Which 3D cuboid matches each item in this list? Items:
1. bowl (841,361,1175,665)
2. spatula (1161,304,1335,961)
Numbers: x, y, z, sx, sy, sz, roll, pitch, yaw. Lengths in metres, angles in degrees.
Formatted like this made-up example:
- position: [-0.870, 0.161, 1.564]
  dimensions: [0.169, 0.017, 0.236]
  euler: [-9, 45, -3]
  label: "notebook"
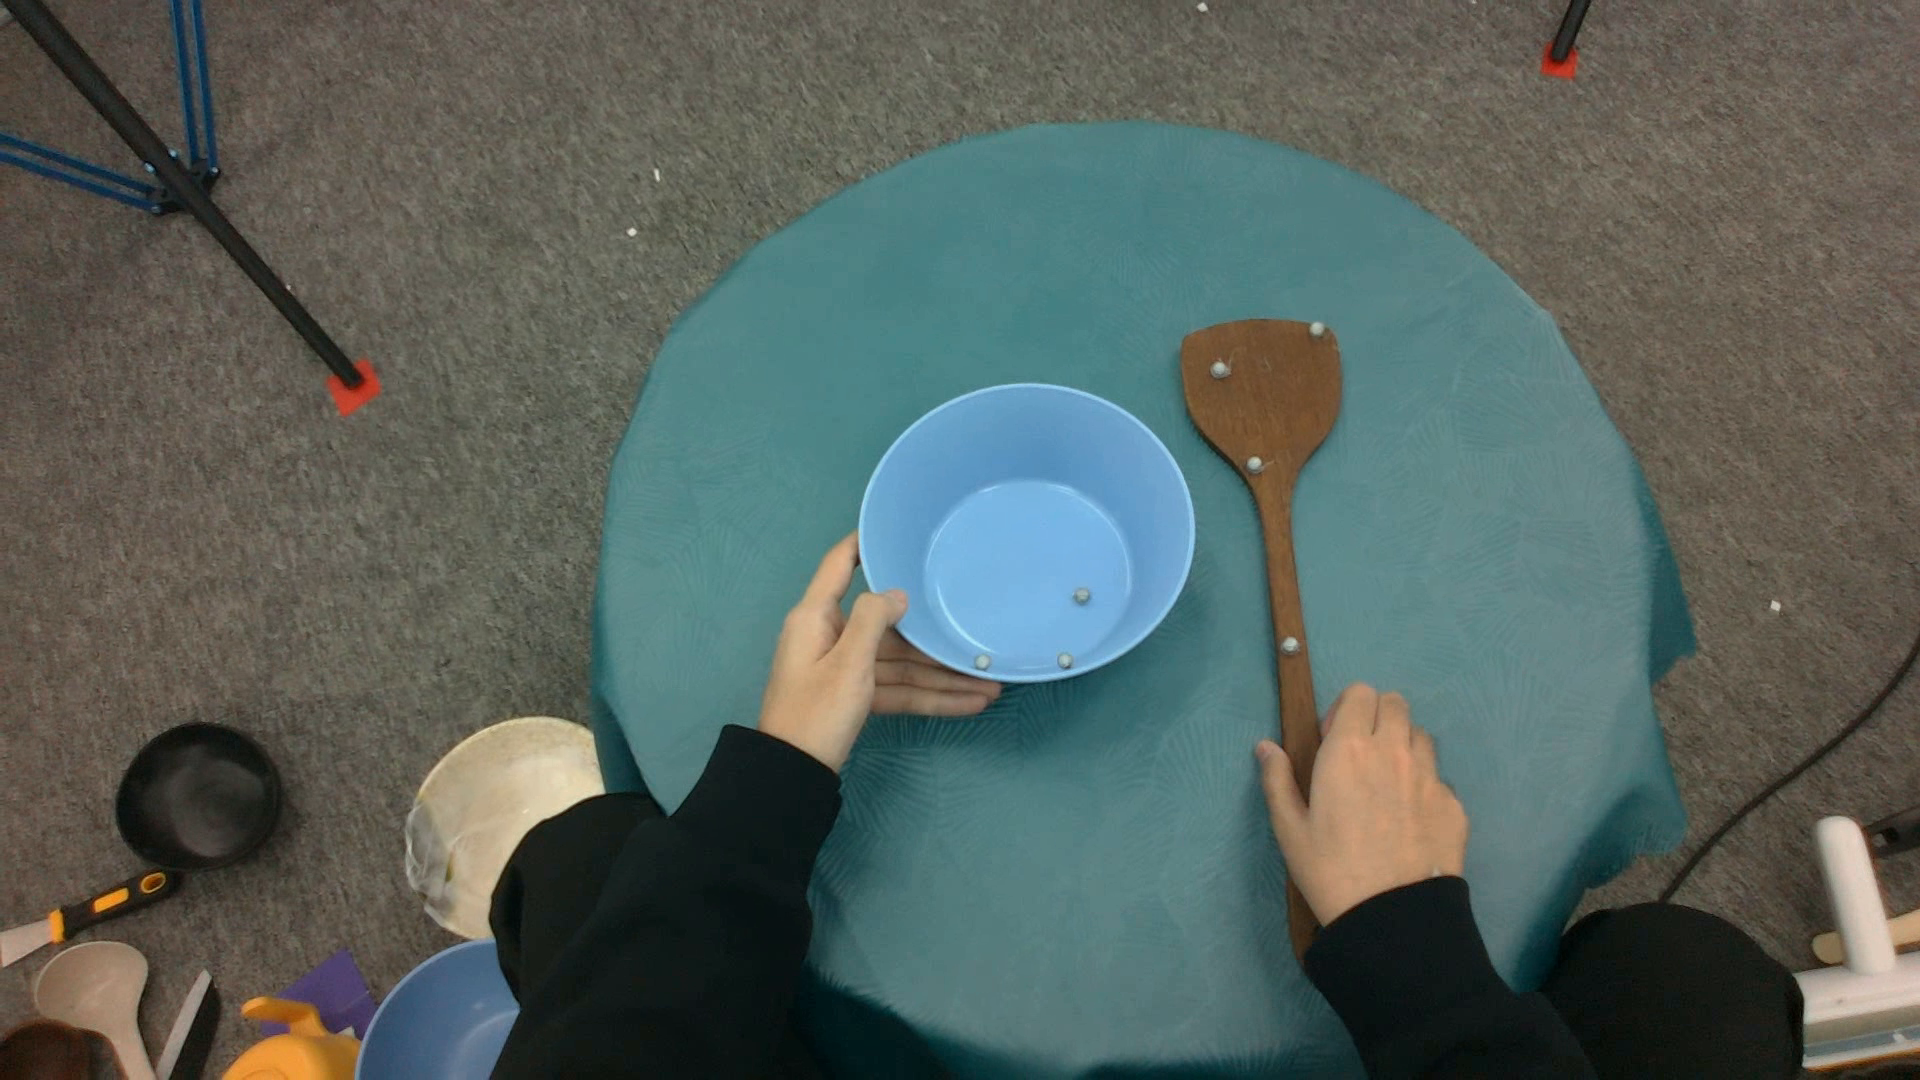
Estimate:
- position: [0.026, -0.006, 0.748]
  dimensions: [0.176, 0.070, 0.176]
  euler: [-1, 65, 2]
  label: "bowl"
- position: [0.170, 0.031, 0.758]
  dimensions: [0.096, 0.016, 0.387]
  euler: [-2, 64, 2]
  label: "spatula"
